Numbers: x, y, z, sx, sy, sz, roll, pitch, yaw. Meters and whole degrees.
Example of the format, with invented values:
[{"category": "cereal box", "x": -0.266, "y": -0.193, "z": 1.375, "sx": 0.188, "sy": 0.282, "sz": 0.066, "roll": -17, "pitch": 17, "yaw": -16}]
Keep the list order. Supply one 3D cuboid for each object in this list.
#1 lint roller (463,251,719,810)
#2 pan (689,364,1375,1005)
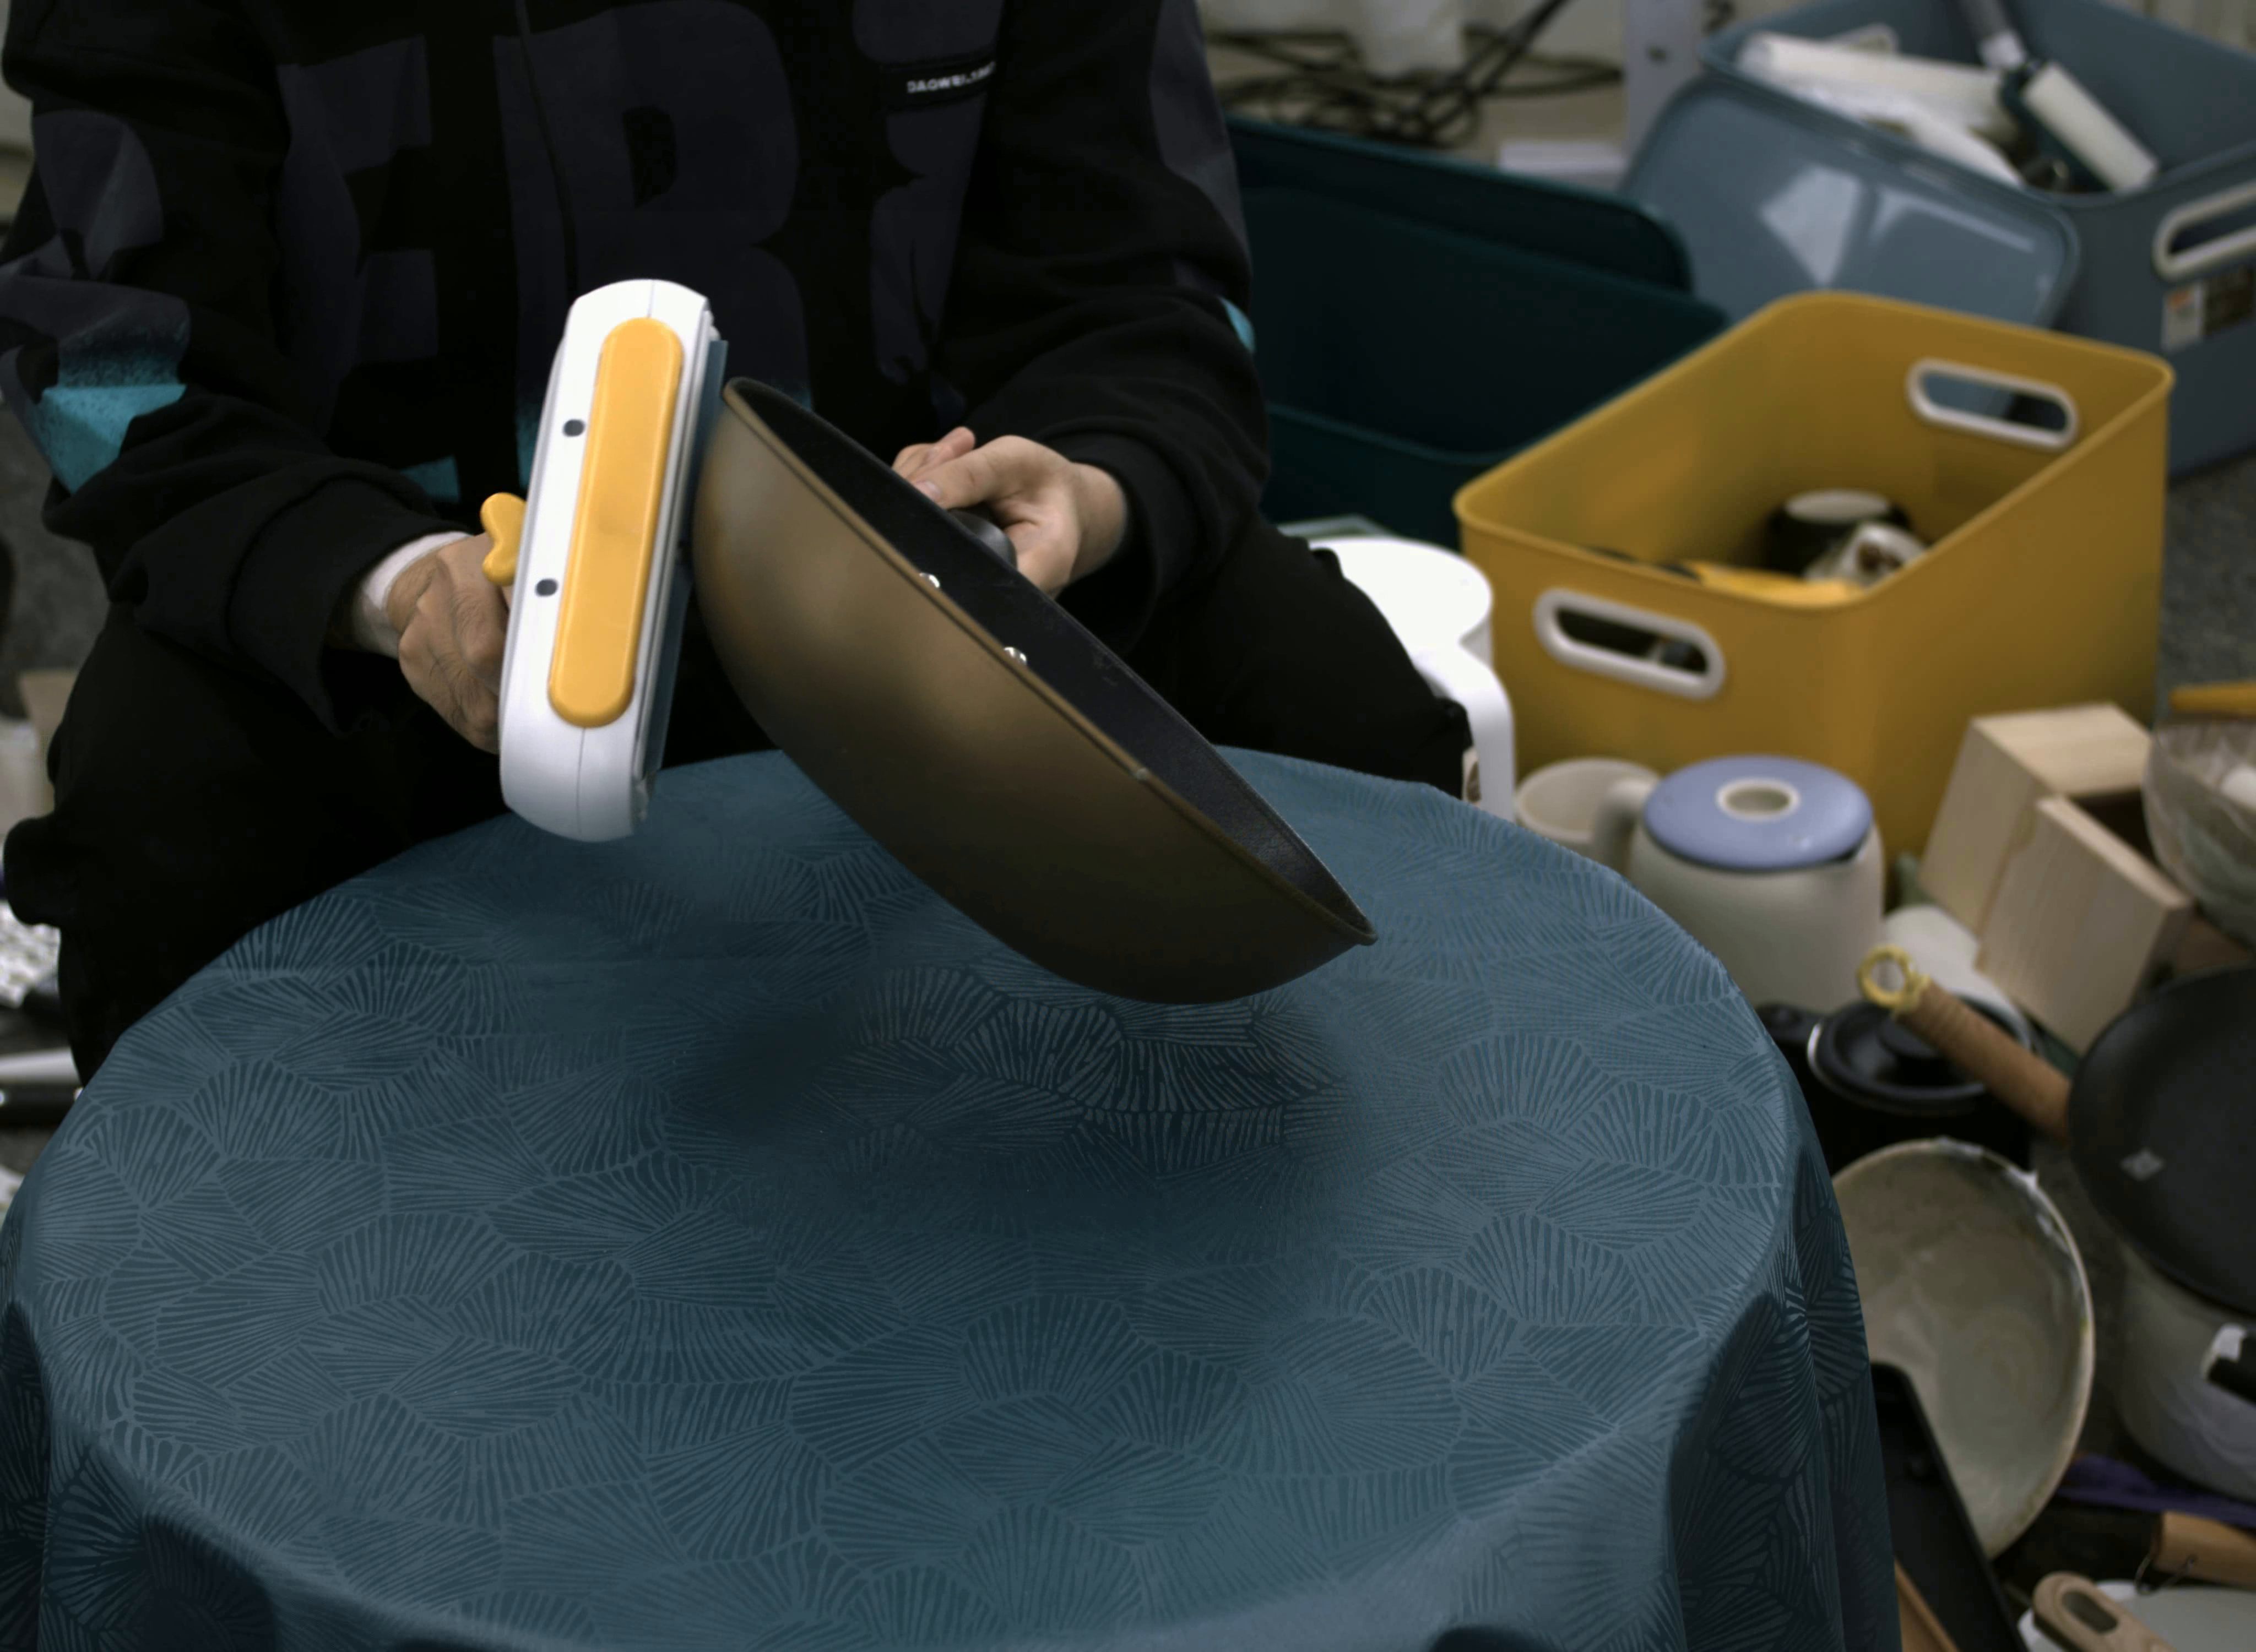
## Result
[{"category": "lint roller", "x": -0.188, "y": -0.076, "z": 1.912, "sx": 0.074, "sy": 0.189, "sz": 0.196, "roll": 6, "pitch": 65, "yaw": -10}, {"category": "pan", "x": -0.061, "y": -0.053, "z": 1.950, "sx": 0.086, "sy": 0.287, "sz": 0.466, "roll": -48, "pitch": 16, "yaw": 5}]
